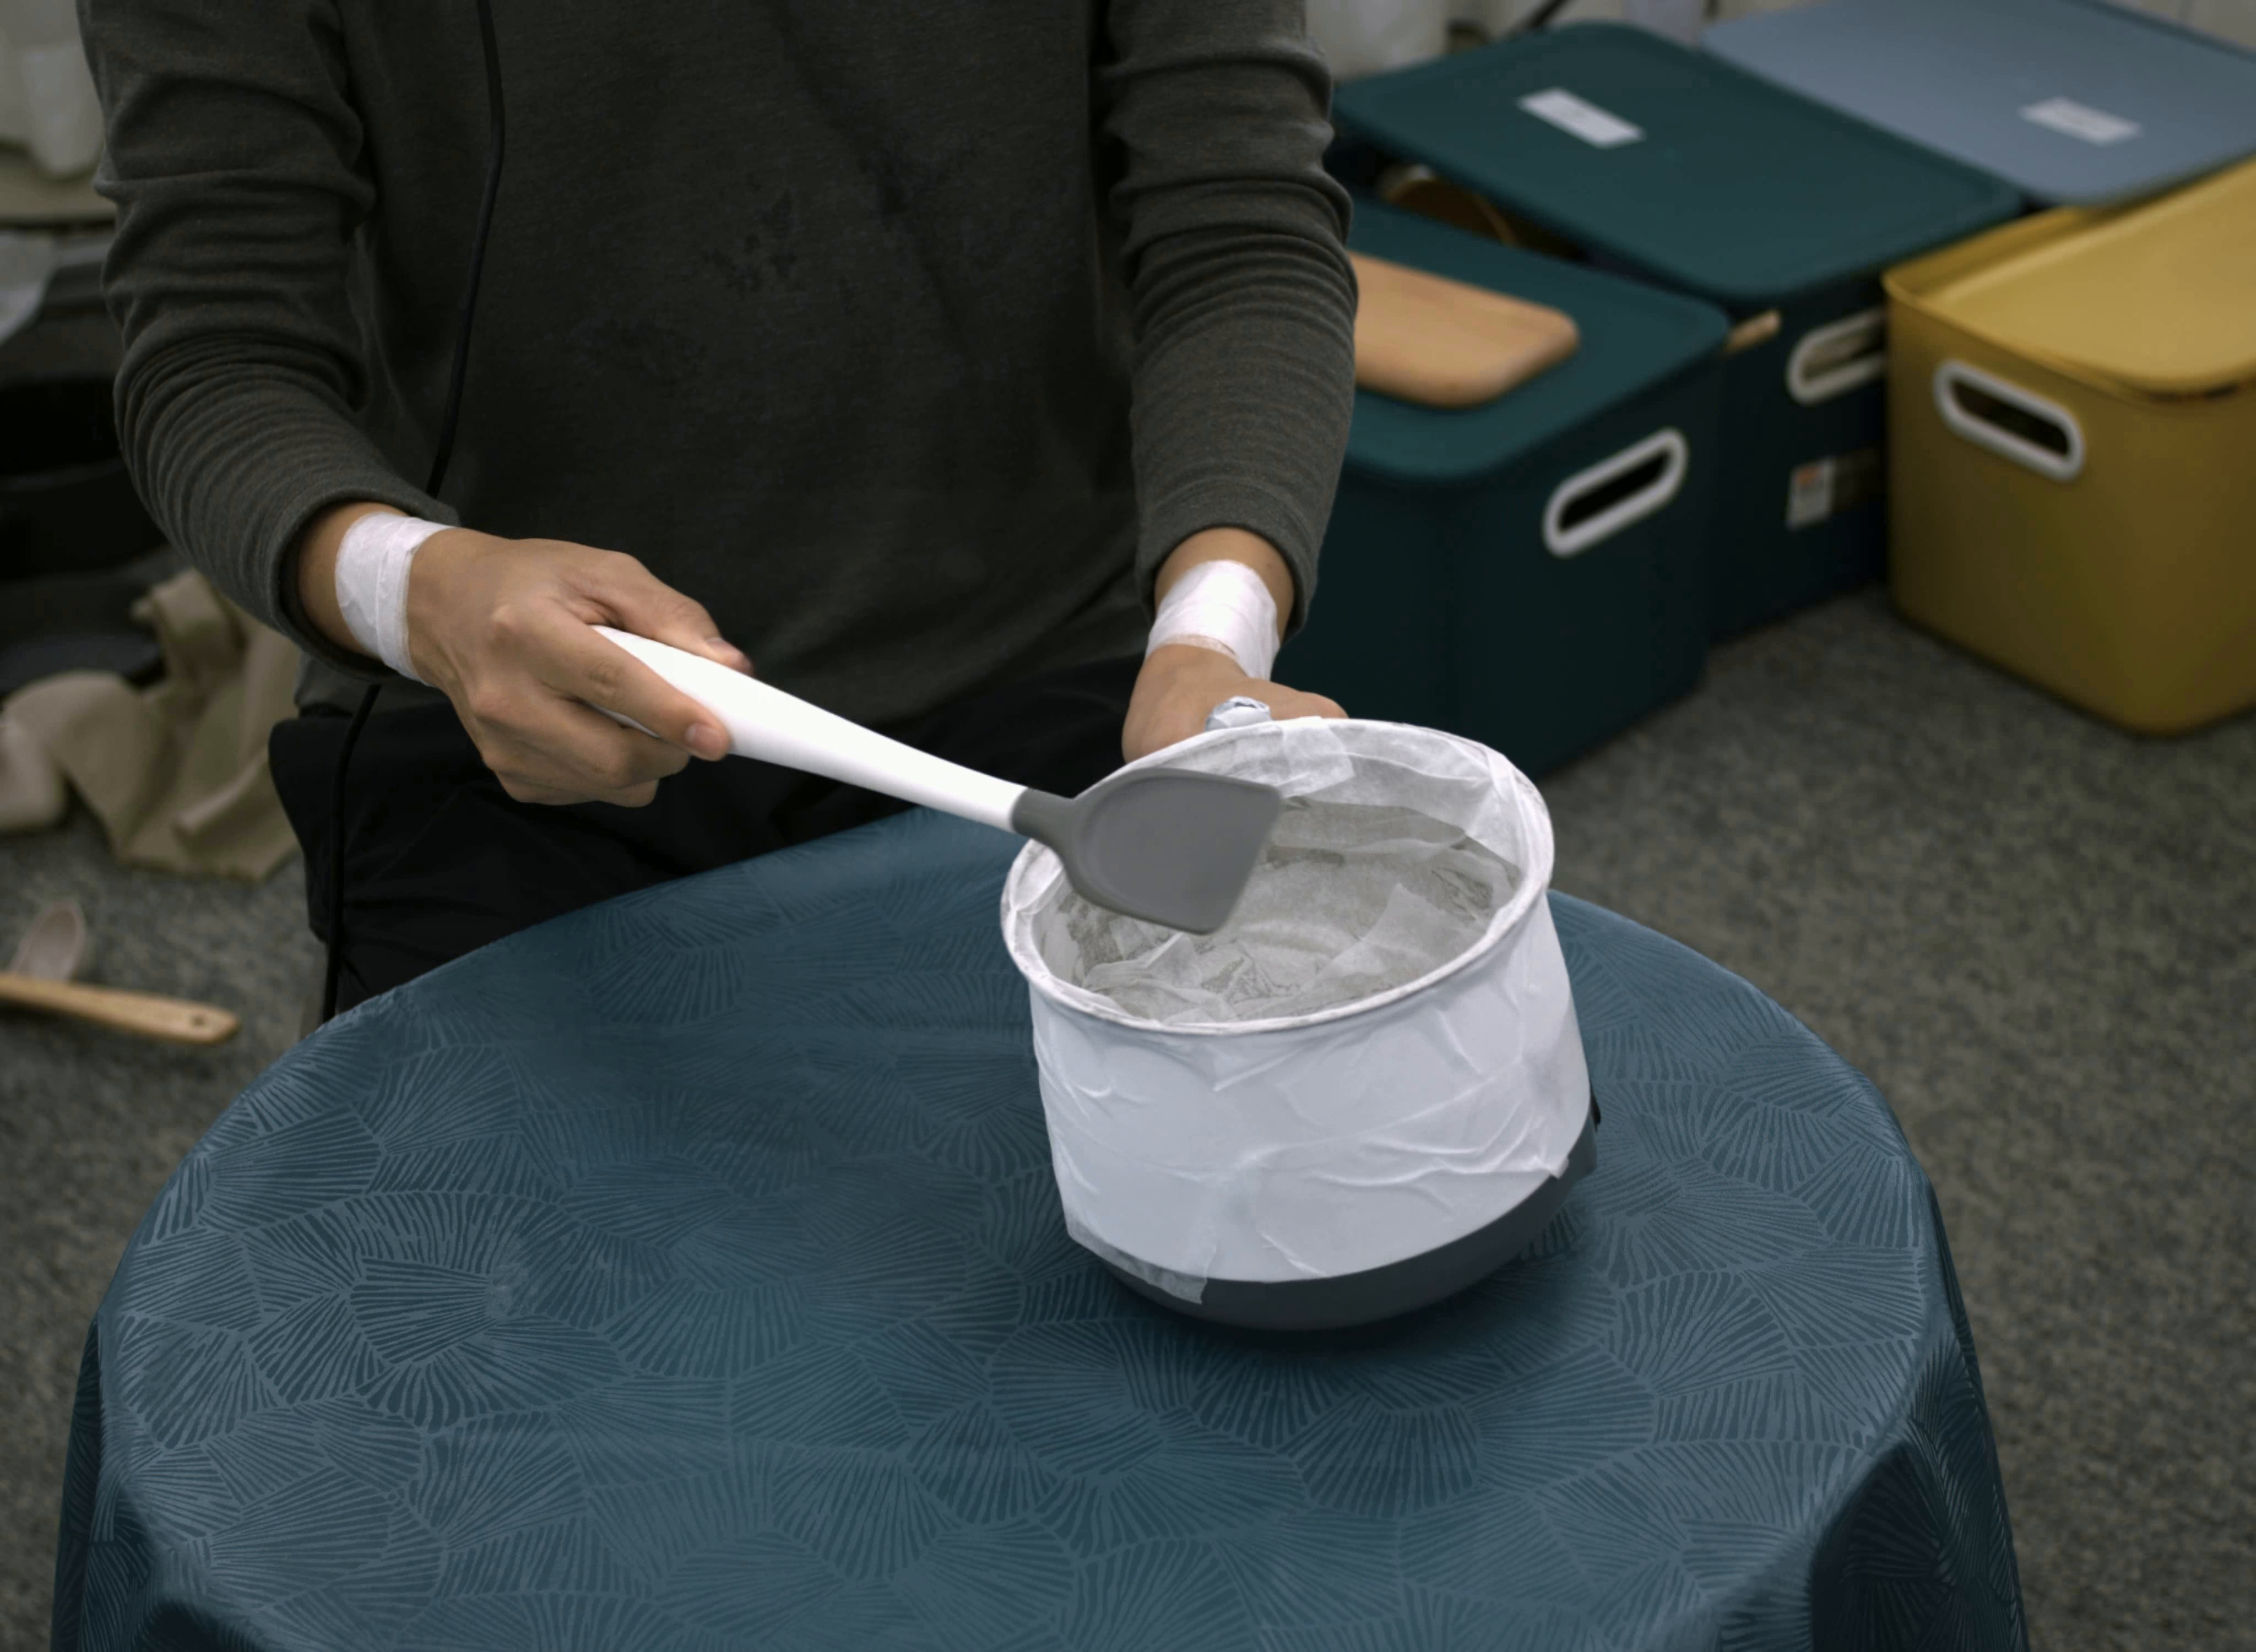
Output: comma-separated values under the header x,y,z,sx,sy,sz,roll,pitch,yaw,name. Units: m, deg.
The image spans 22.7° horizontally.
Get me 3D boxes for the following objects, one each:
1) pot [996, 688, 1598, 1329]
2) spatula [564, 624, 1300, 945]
x,y,z,sx,sy,sz,roll,pitch,yaw,name
0.052,0.050,1.822,0.178,0.135,0.237,-12,31,-1,pot
-0.064,-0.018,1.785,0.286,0.032,0.059,17,70,34,spatula
